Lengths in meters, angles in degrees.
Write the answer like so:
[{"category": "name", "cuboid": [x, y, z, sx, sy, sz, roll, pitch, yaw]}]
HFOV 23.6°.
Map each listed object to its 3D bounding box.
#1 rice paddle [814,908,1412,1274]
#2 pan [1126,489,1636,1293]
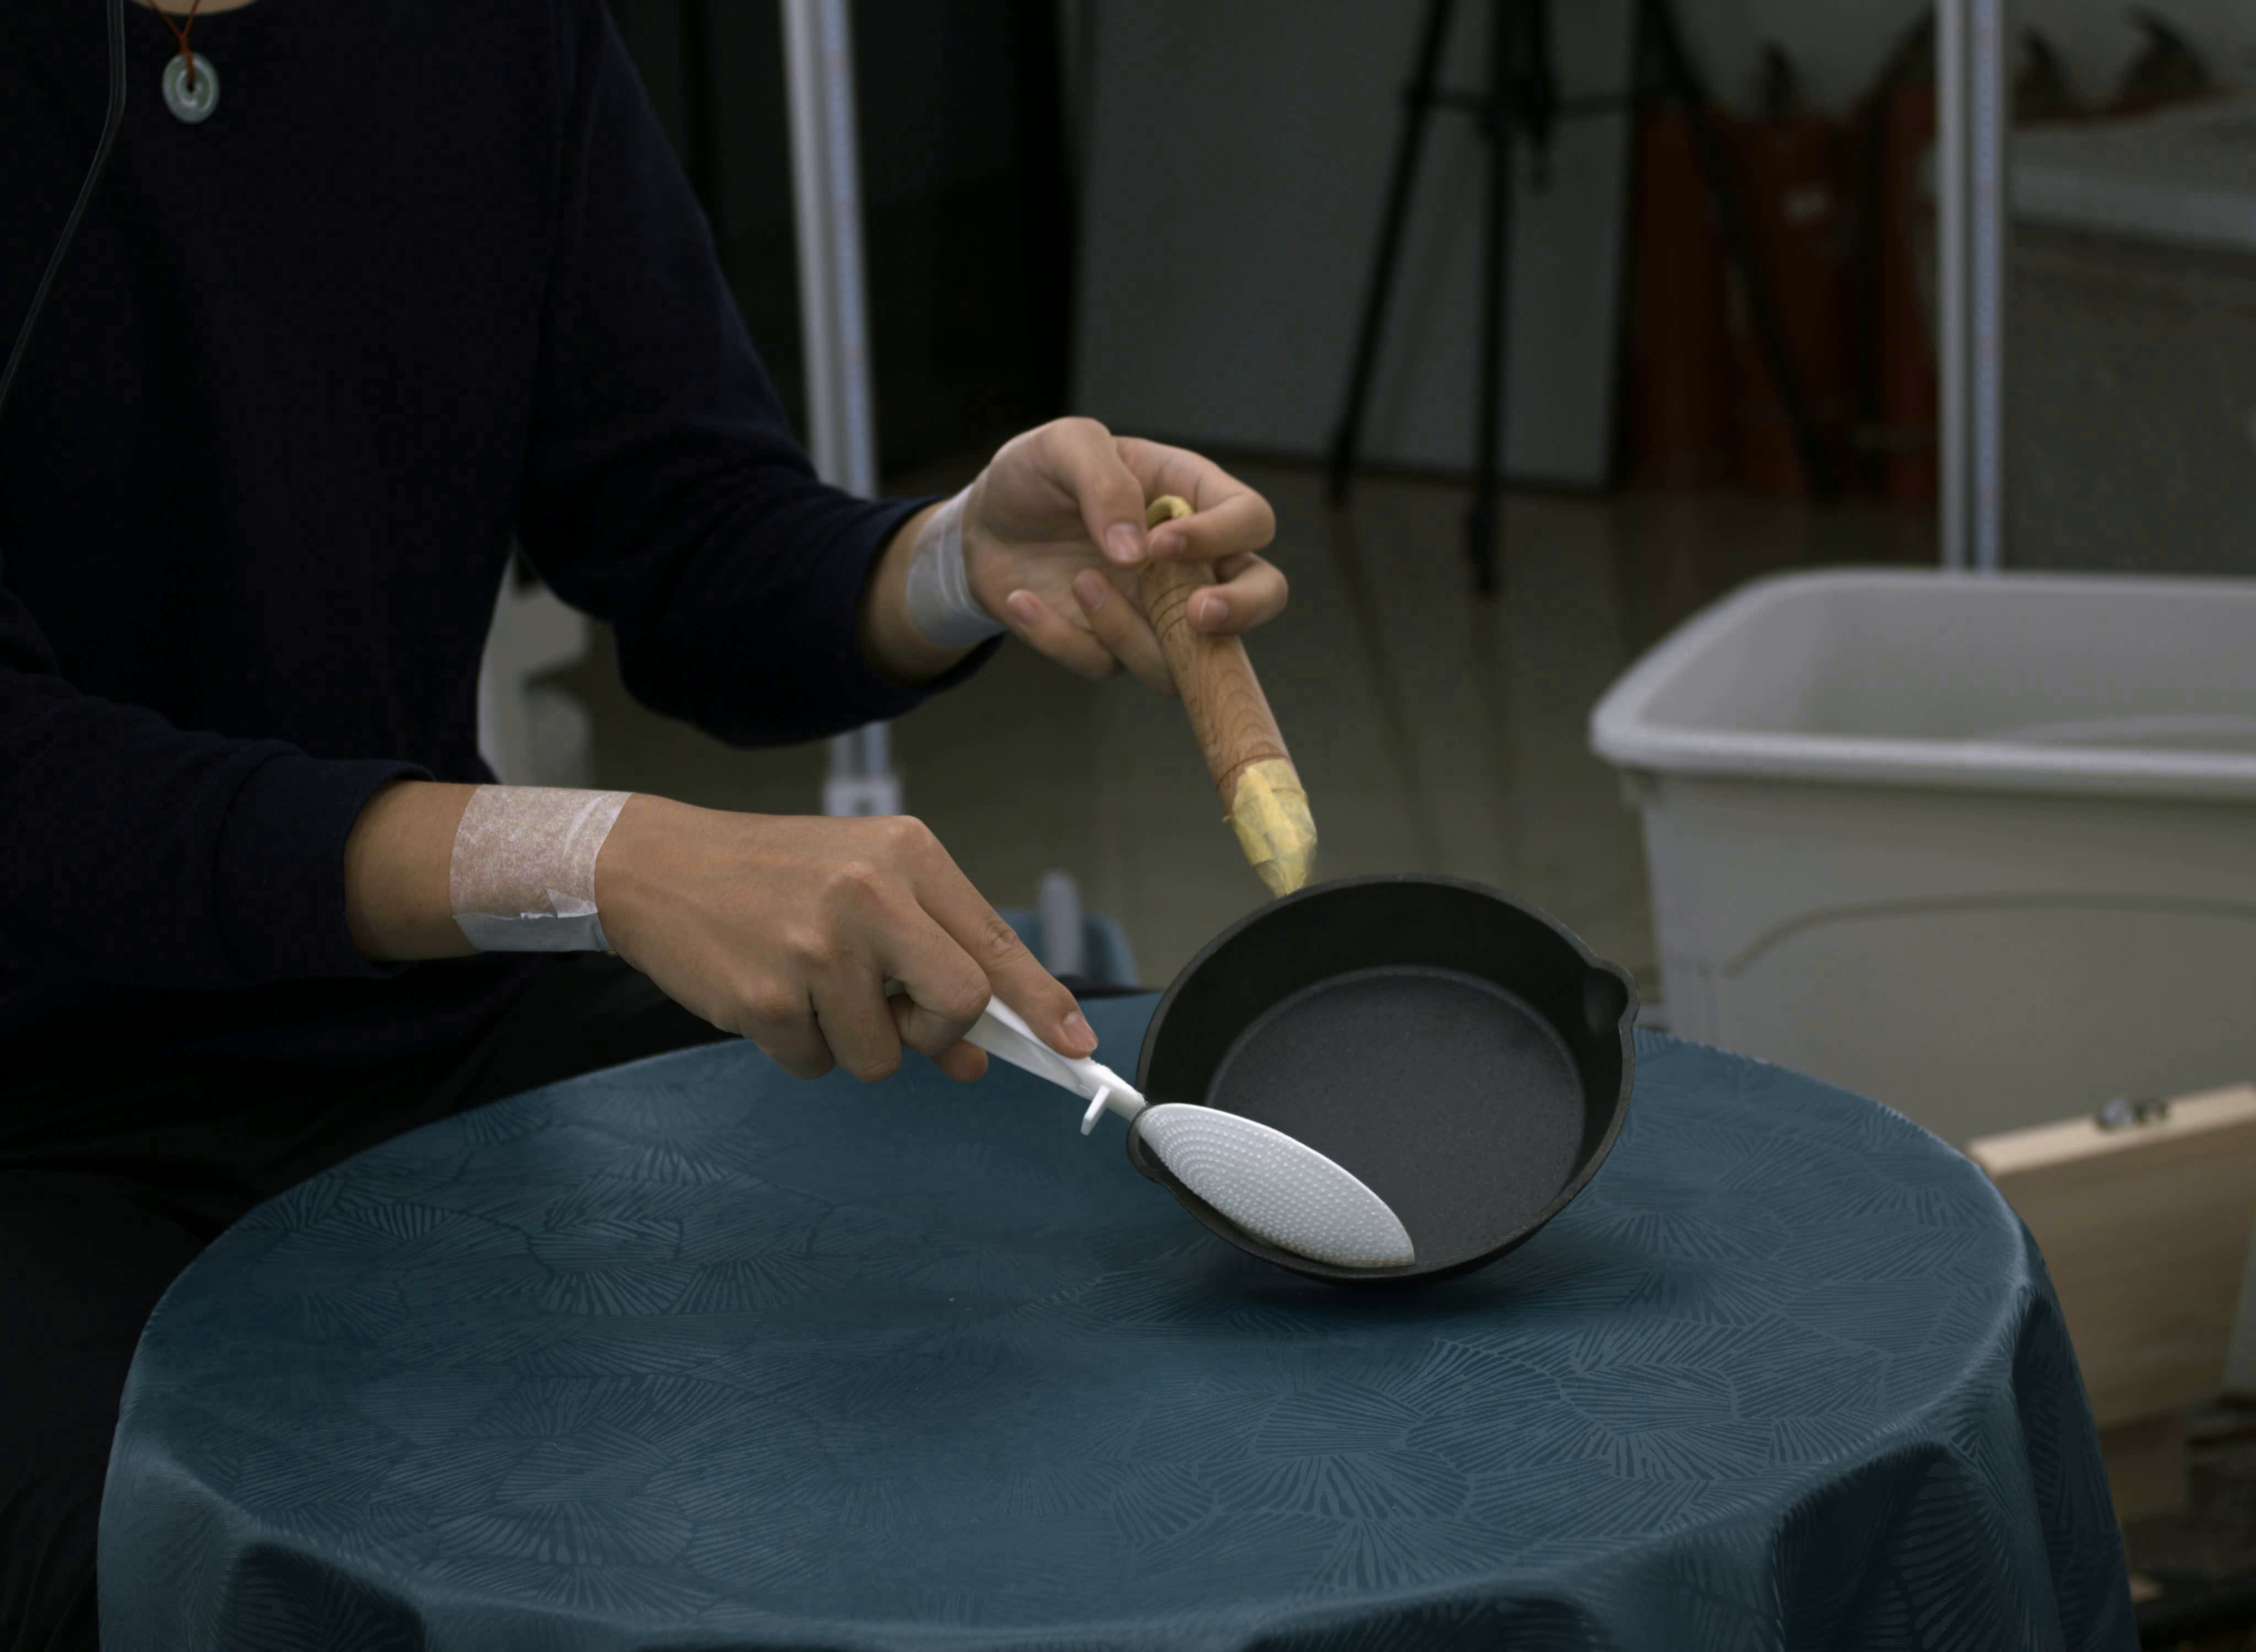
[{"category": "rice paddle", "cuboid": [-0.001, 0.084, 1.657, 0.205, 0.069, 0.029, 27, 64, 10]}, {"category": "pan", "cuboid": [0.057, 0.018, 1.737, 0.167, 0.049, 0.328, -18, 51, -2]}]
